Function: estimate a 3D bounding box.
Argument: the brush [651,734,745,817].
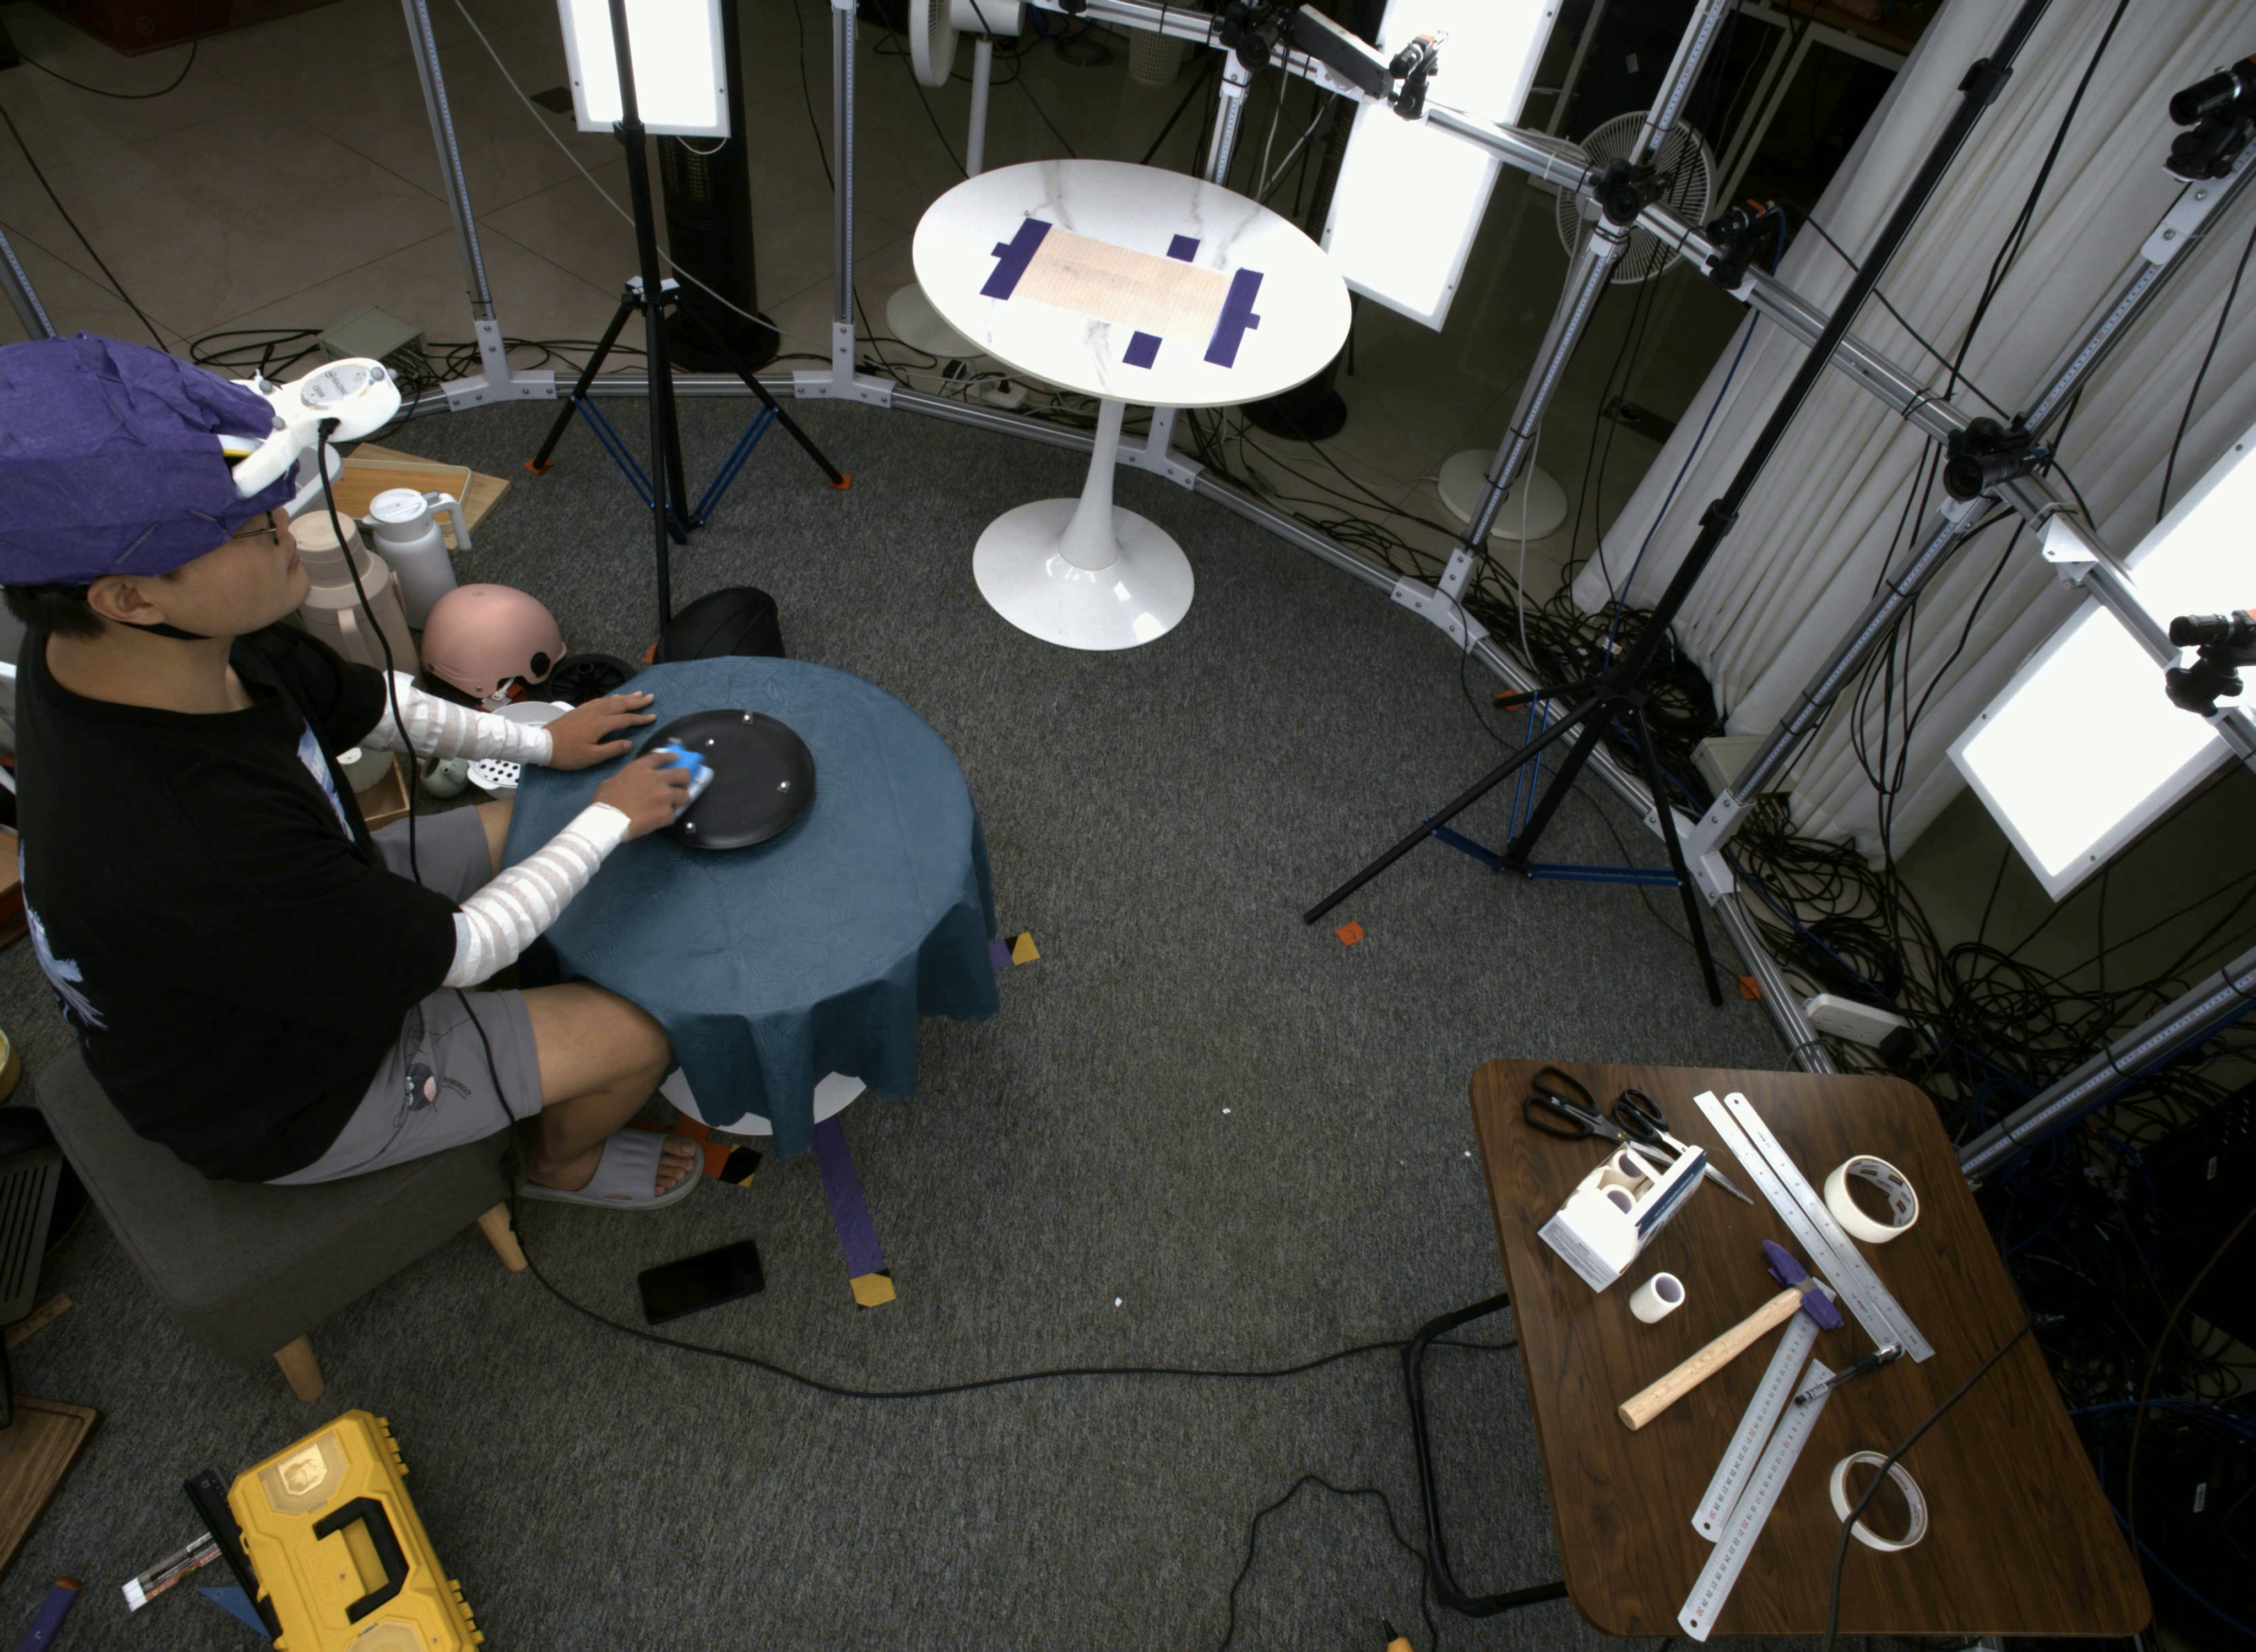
[{"bbox_3d":[-0.559,-0.073,1.682,0.084,0.057,0.142,23,34,-4],"label":"brush"}]

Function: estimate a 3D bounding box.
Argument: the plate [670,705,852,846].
[{"bbox_3d":[-0.497,-0.067,1.750,0.244,0.024,0.240,8,53,-9],"label":"plate"}]
